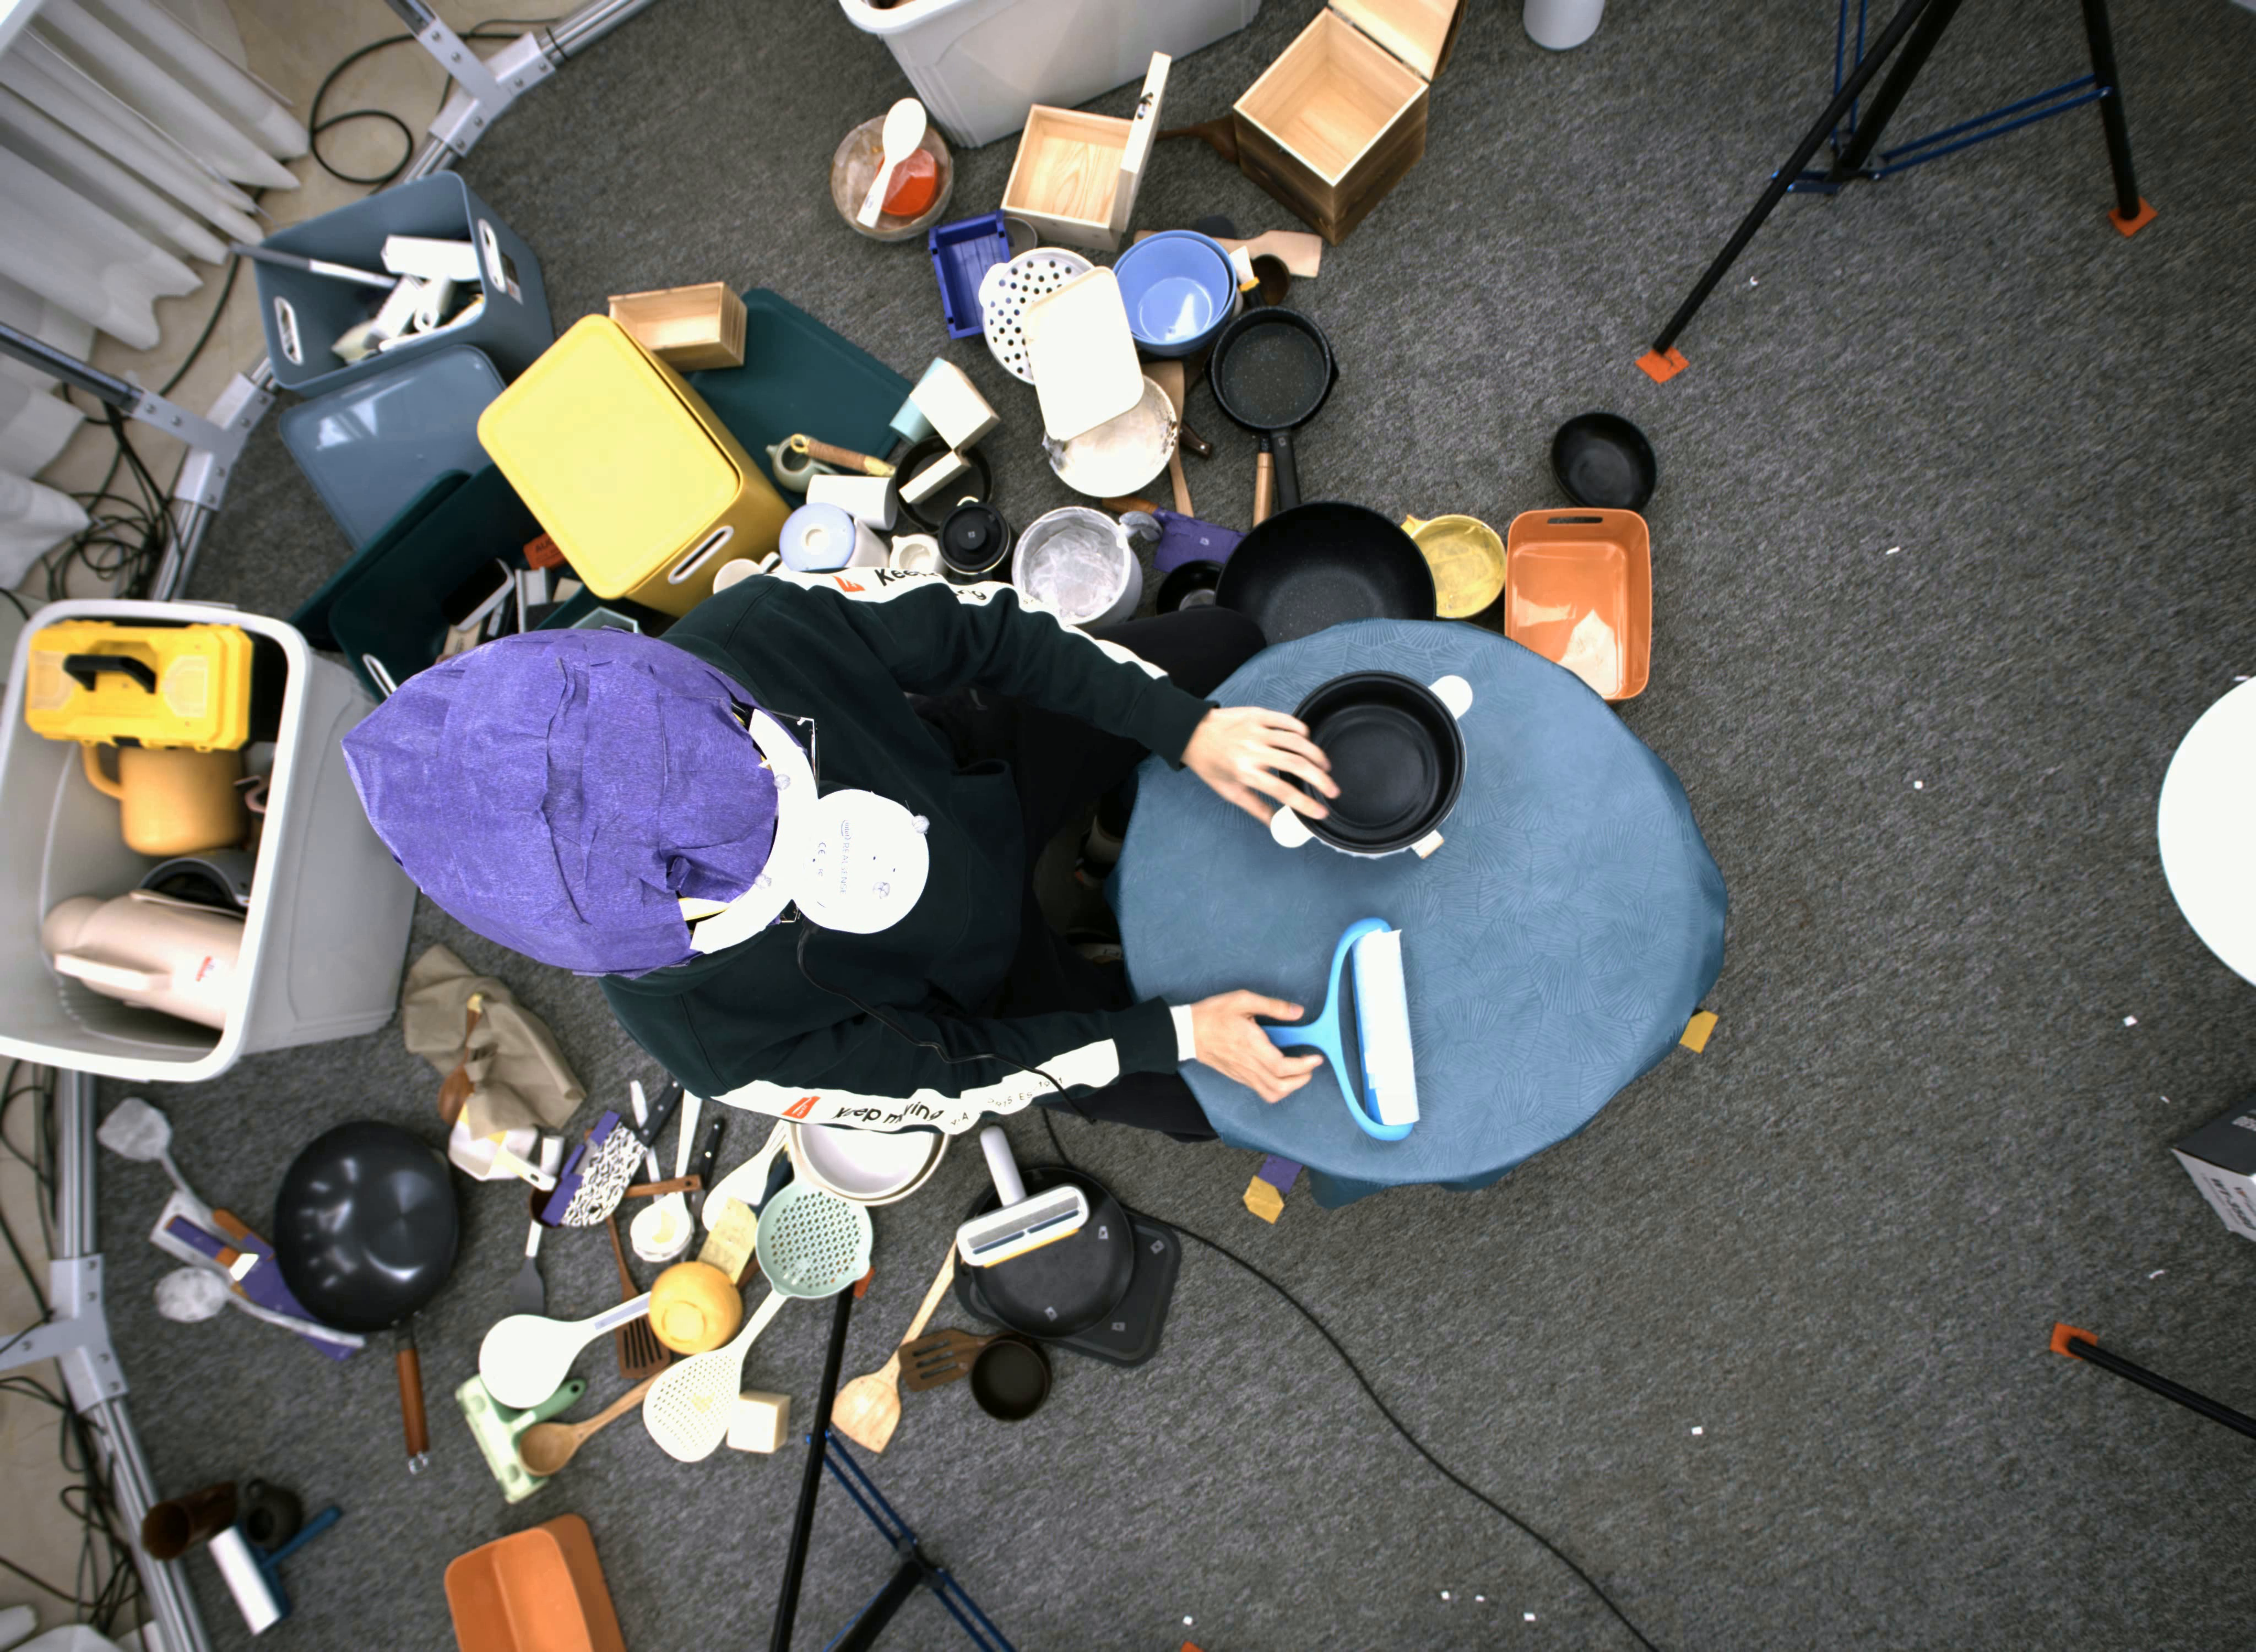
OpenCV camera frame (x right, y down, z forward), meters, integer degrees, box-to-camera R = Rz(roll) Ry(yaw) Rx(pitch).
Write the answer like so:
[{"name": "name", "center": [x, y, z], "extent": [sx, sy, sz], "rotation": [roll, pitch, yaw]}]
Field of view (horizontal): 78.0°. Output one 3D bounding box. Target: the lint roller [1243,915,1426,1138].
[{"name": "lint roller", "center": [0.207, 0.215, 1.431], "extent": [0.181, 0.068, 0.228], "rotation": [-10, 87, 8]}]

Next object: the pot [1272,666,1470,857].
[{"name": "pot", "center": [0.251, -0.056, 1.395], "extent": [0.242, 0.143, 0.189], "rotation": [-41, 78, 7]}]
